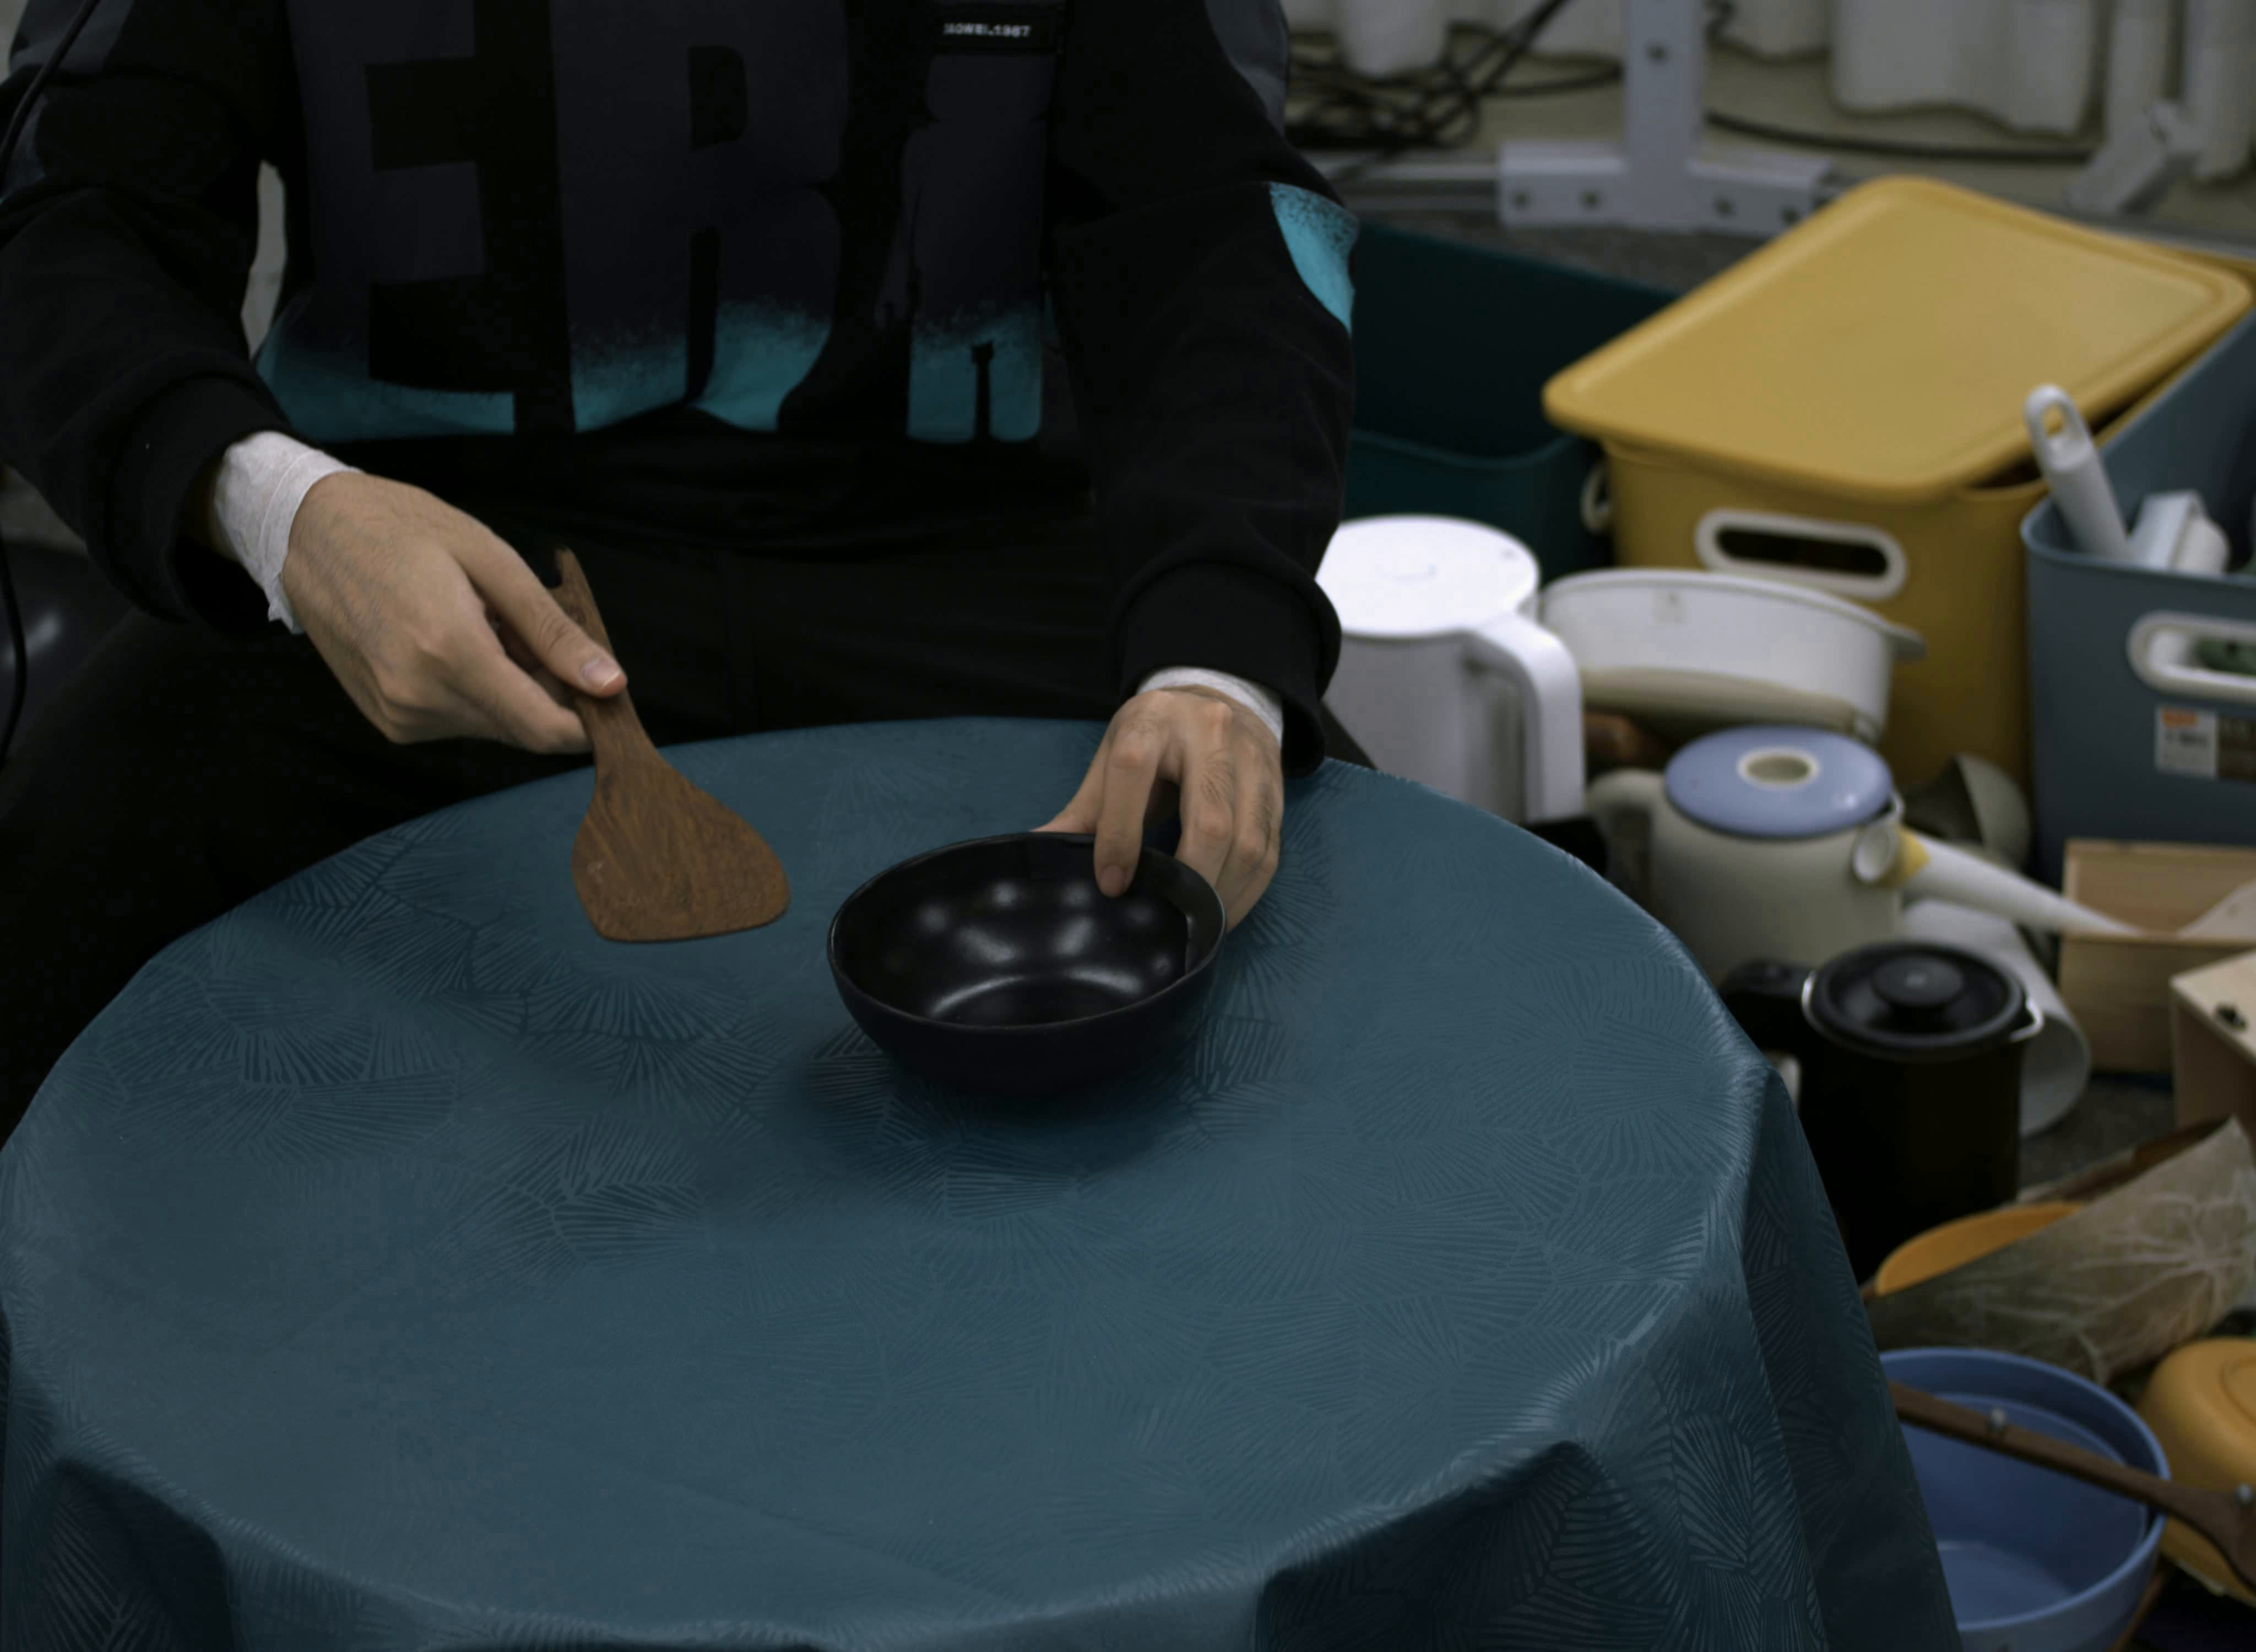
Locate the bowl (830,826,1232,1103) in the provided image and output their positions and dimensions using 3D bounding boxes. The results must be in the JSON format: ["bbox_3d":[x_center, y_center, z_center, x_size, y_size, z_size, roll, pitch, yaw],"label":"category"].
[{"bbox_3d":[-0.032,0.056,1.937,0.139,0.049,0.142,-4,29,2],"label":"bowl"}]

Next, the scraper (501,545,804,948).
[{"bbox_3d":[-0.175,-0.028,1.929,0.076,0.010,0.214,-6,43,-22],"label":"scraper"}]
